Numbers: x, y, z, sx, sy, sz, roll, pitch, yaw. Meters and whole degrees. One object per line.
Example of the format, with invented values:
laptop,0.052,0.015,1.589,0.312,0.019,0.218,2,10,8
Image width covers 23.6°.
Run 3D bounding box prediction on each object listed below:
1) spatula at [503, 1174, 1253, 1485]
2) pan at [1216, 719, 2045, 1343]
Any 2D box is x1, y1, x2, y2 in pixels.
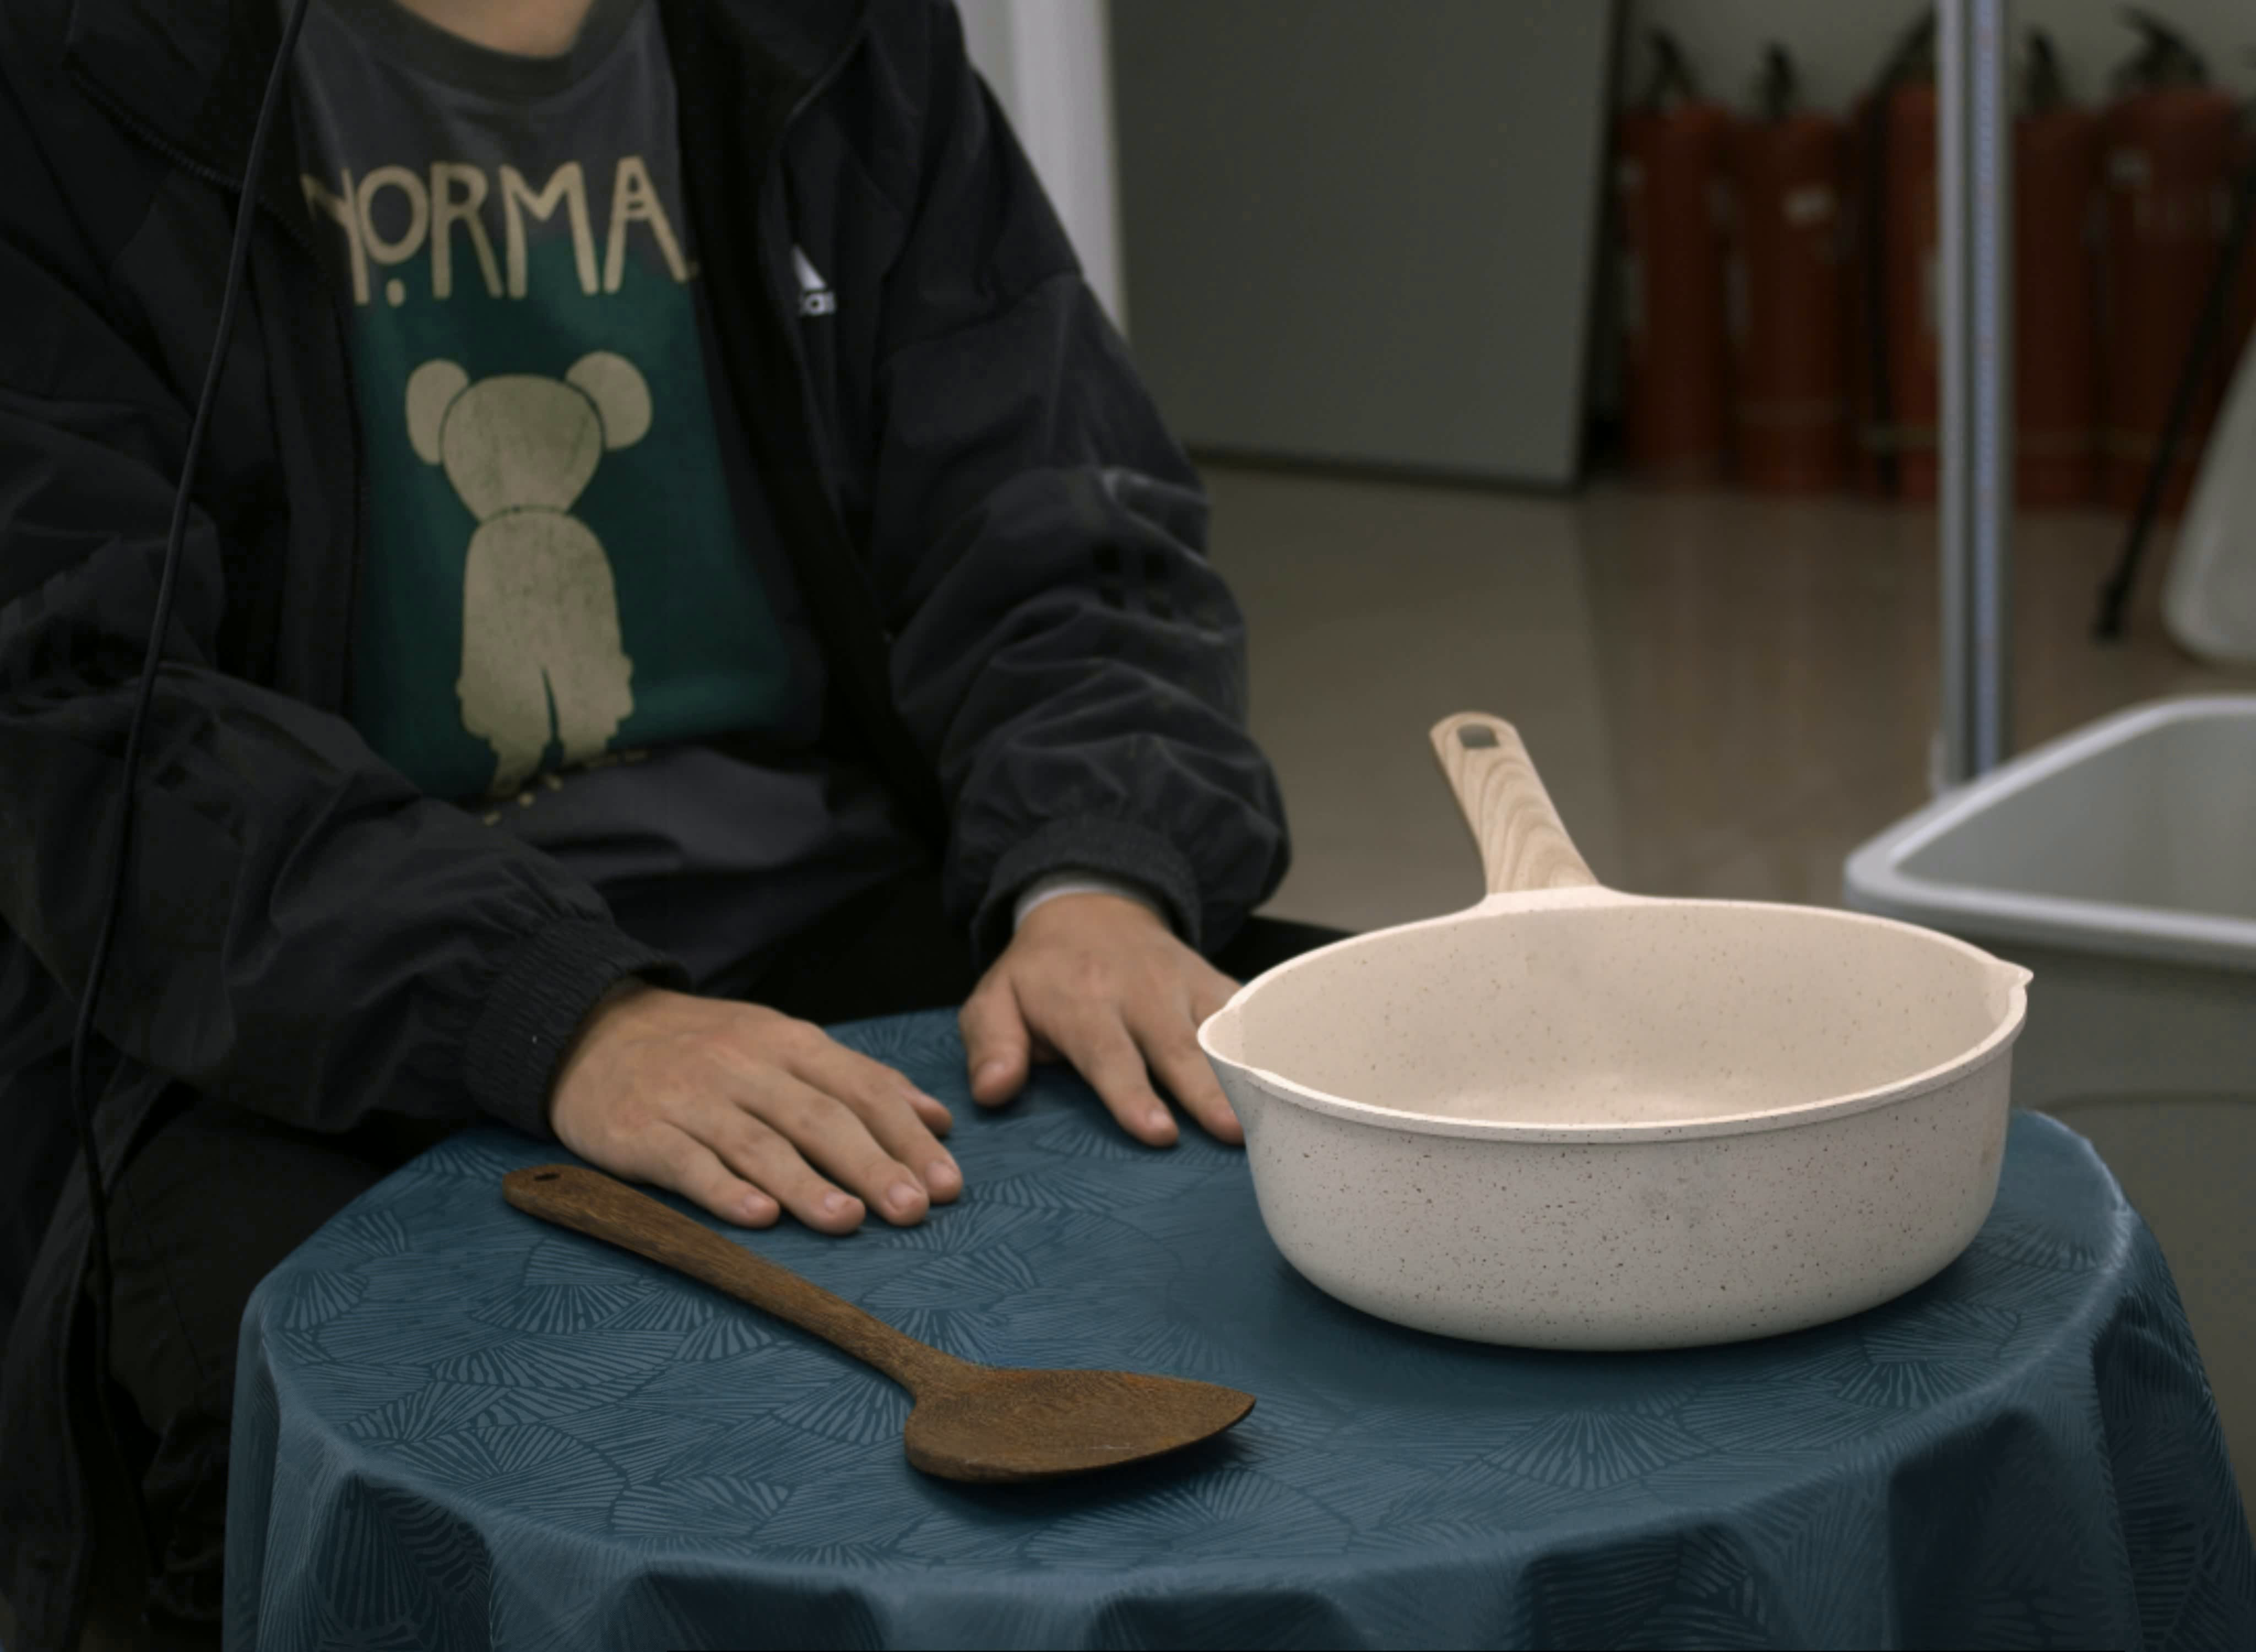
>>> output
spatula,-0.099,0.149,1.660,0.094,0.016,0.390,-12,15,-31
pan,0.150,0.061,1.756,0.259,0.103,0.436,-7,14,-3
